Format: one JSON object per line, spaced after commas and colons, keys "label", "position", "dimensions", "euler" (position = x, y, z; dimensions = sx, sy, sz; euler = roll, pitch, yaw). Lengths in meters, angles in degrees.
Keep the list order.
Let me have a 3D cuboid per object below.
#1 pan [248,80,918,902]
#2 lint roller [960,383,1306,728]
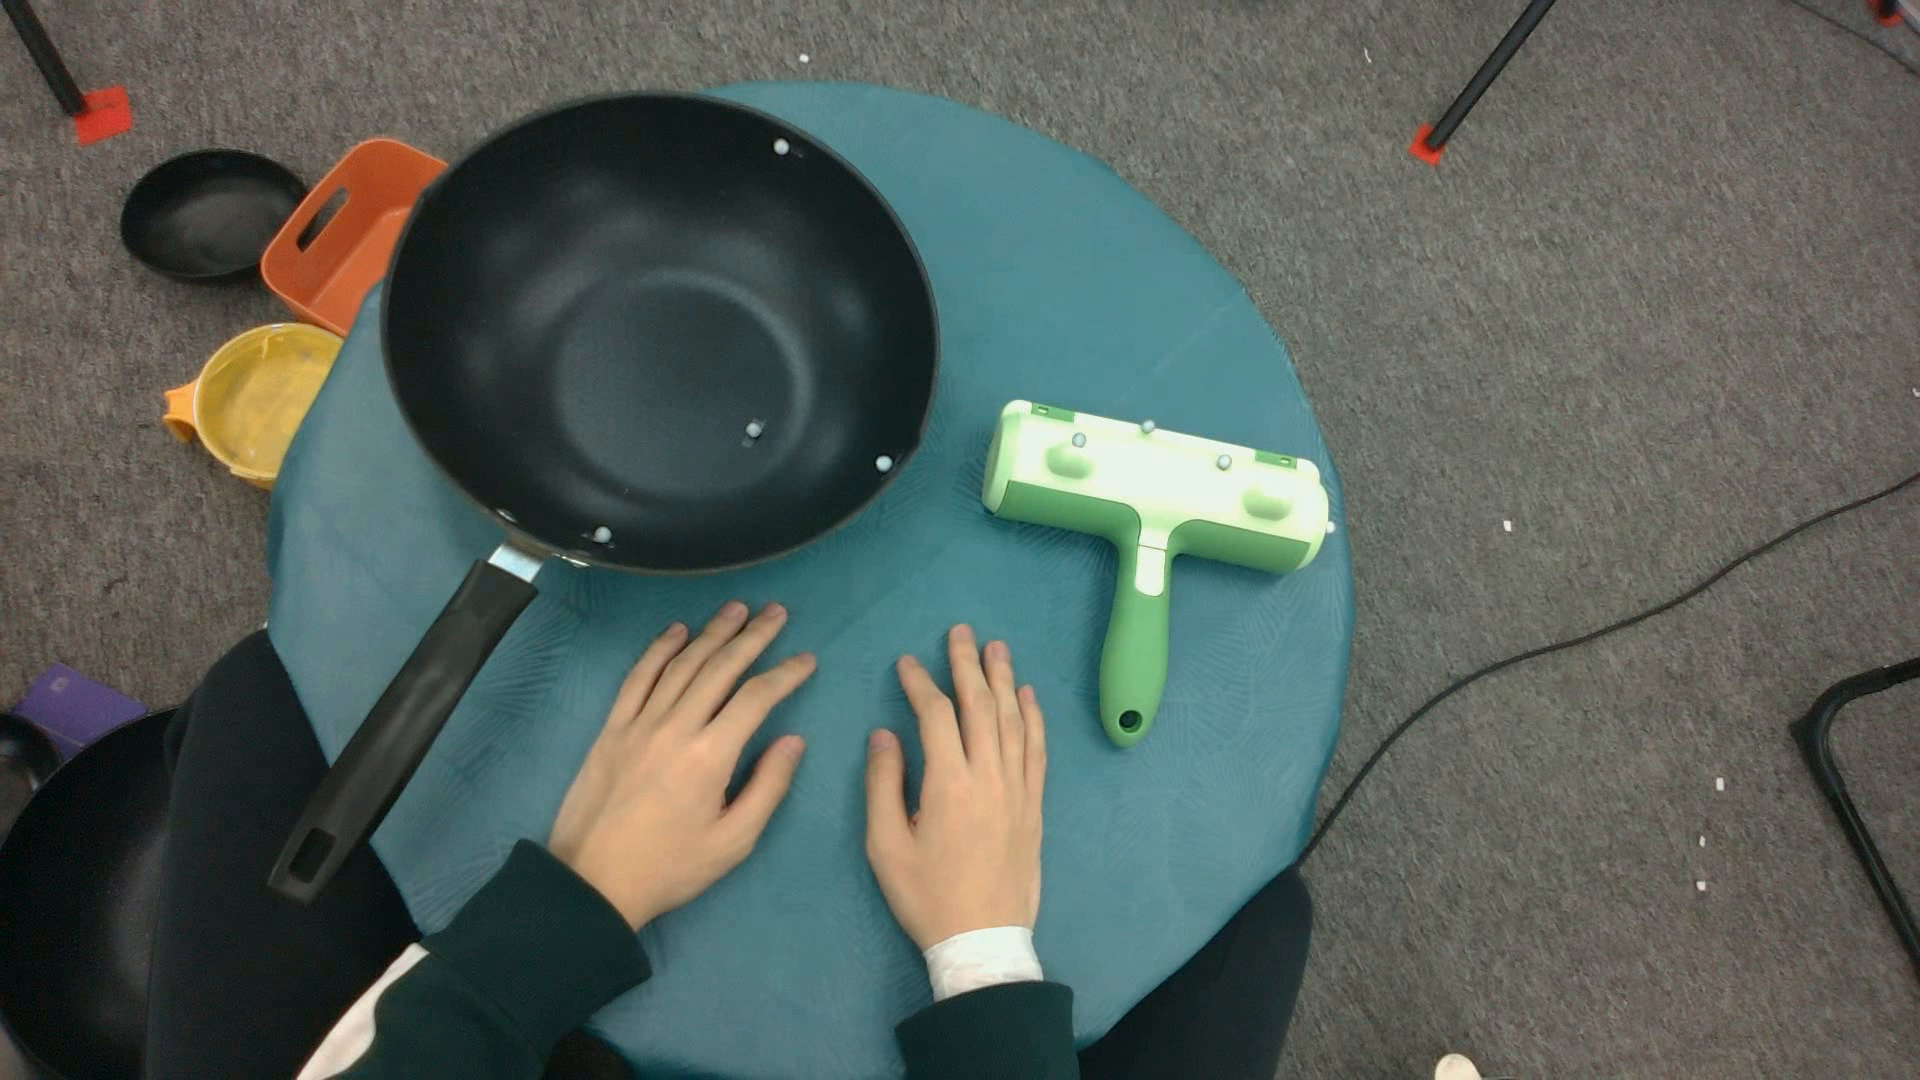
{"label": "pan", "position": [-0.204, -0.029, 0.710], "dimensions": [0.288, 0.086, 0.465], "euler": [26, 68, -2]}
{"label": "lint roller", "position": [0.097, 0.007, 0.764], "dimensions": [0.199, 0.082, 0.184], "euler": [10, 63, -9]}
